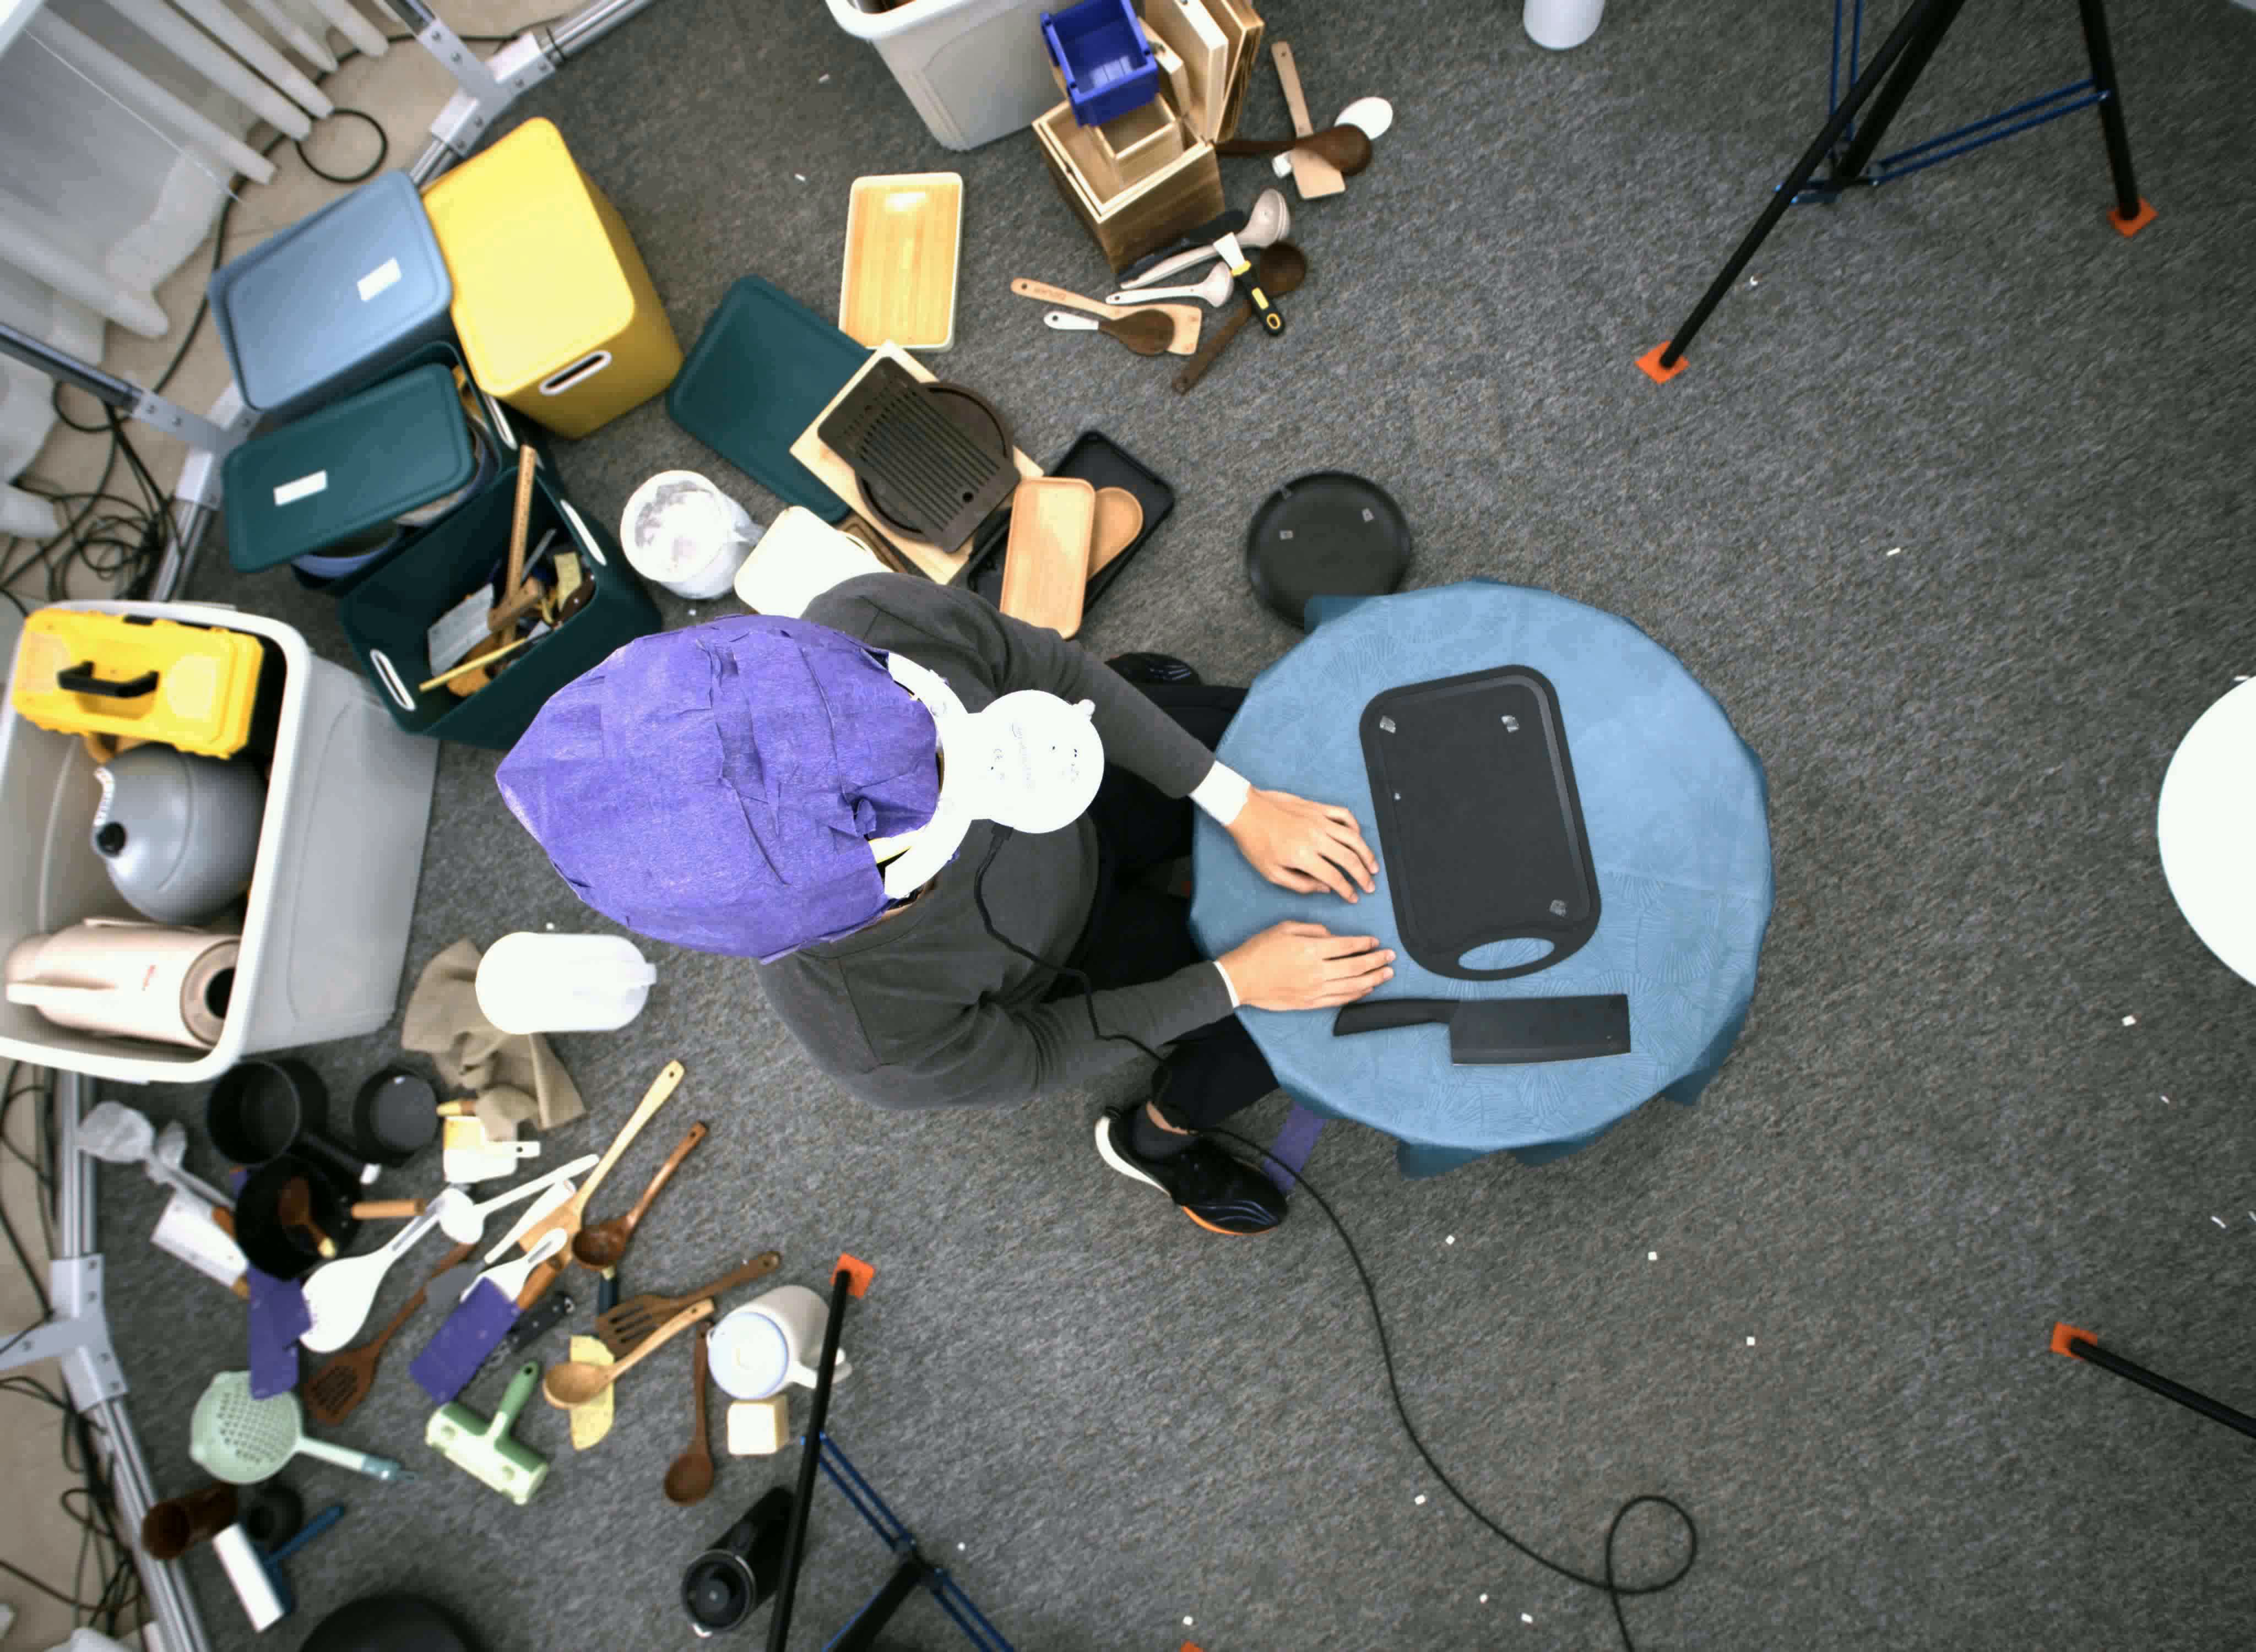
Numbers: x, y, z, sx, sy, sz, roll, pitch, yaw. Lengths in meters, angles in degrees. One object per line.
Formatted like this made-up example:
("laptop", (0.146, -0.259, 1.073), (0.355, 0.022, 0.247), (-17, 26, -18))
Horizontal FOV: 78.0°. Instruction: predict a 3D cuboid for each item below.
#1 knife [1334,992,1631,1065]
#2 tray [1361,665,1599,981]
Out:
("knife", (0.366, 0.206, 1.428), (0.303, 0.021, 0.080), (1, 88, 9))
("tray", (0.371, -0.003, 1.442), (0.212, 0.010, 0.323), (-10, 85, 11))
